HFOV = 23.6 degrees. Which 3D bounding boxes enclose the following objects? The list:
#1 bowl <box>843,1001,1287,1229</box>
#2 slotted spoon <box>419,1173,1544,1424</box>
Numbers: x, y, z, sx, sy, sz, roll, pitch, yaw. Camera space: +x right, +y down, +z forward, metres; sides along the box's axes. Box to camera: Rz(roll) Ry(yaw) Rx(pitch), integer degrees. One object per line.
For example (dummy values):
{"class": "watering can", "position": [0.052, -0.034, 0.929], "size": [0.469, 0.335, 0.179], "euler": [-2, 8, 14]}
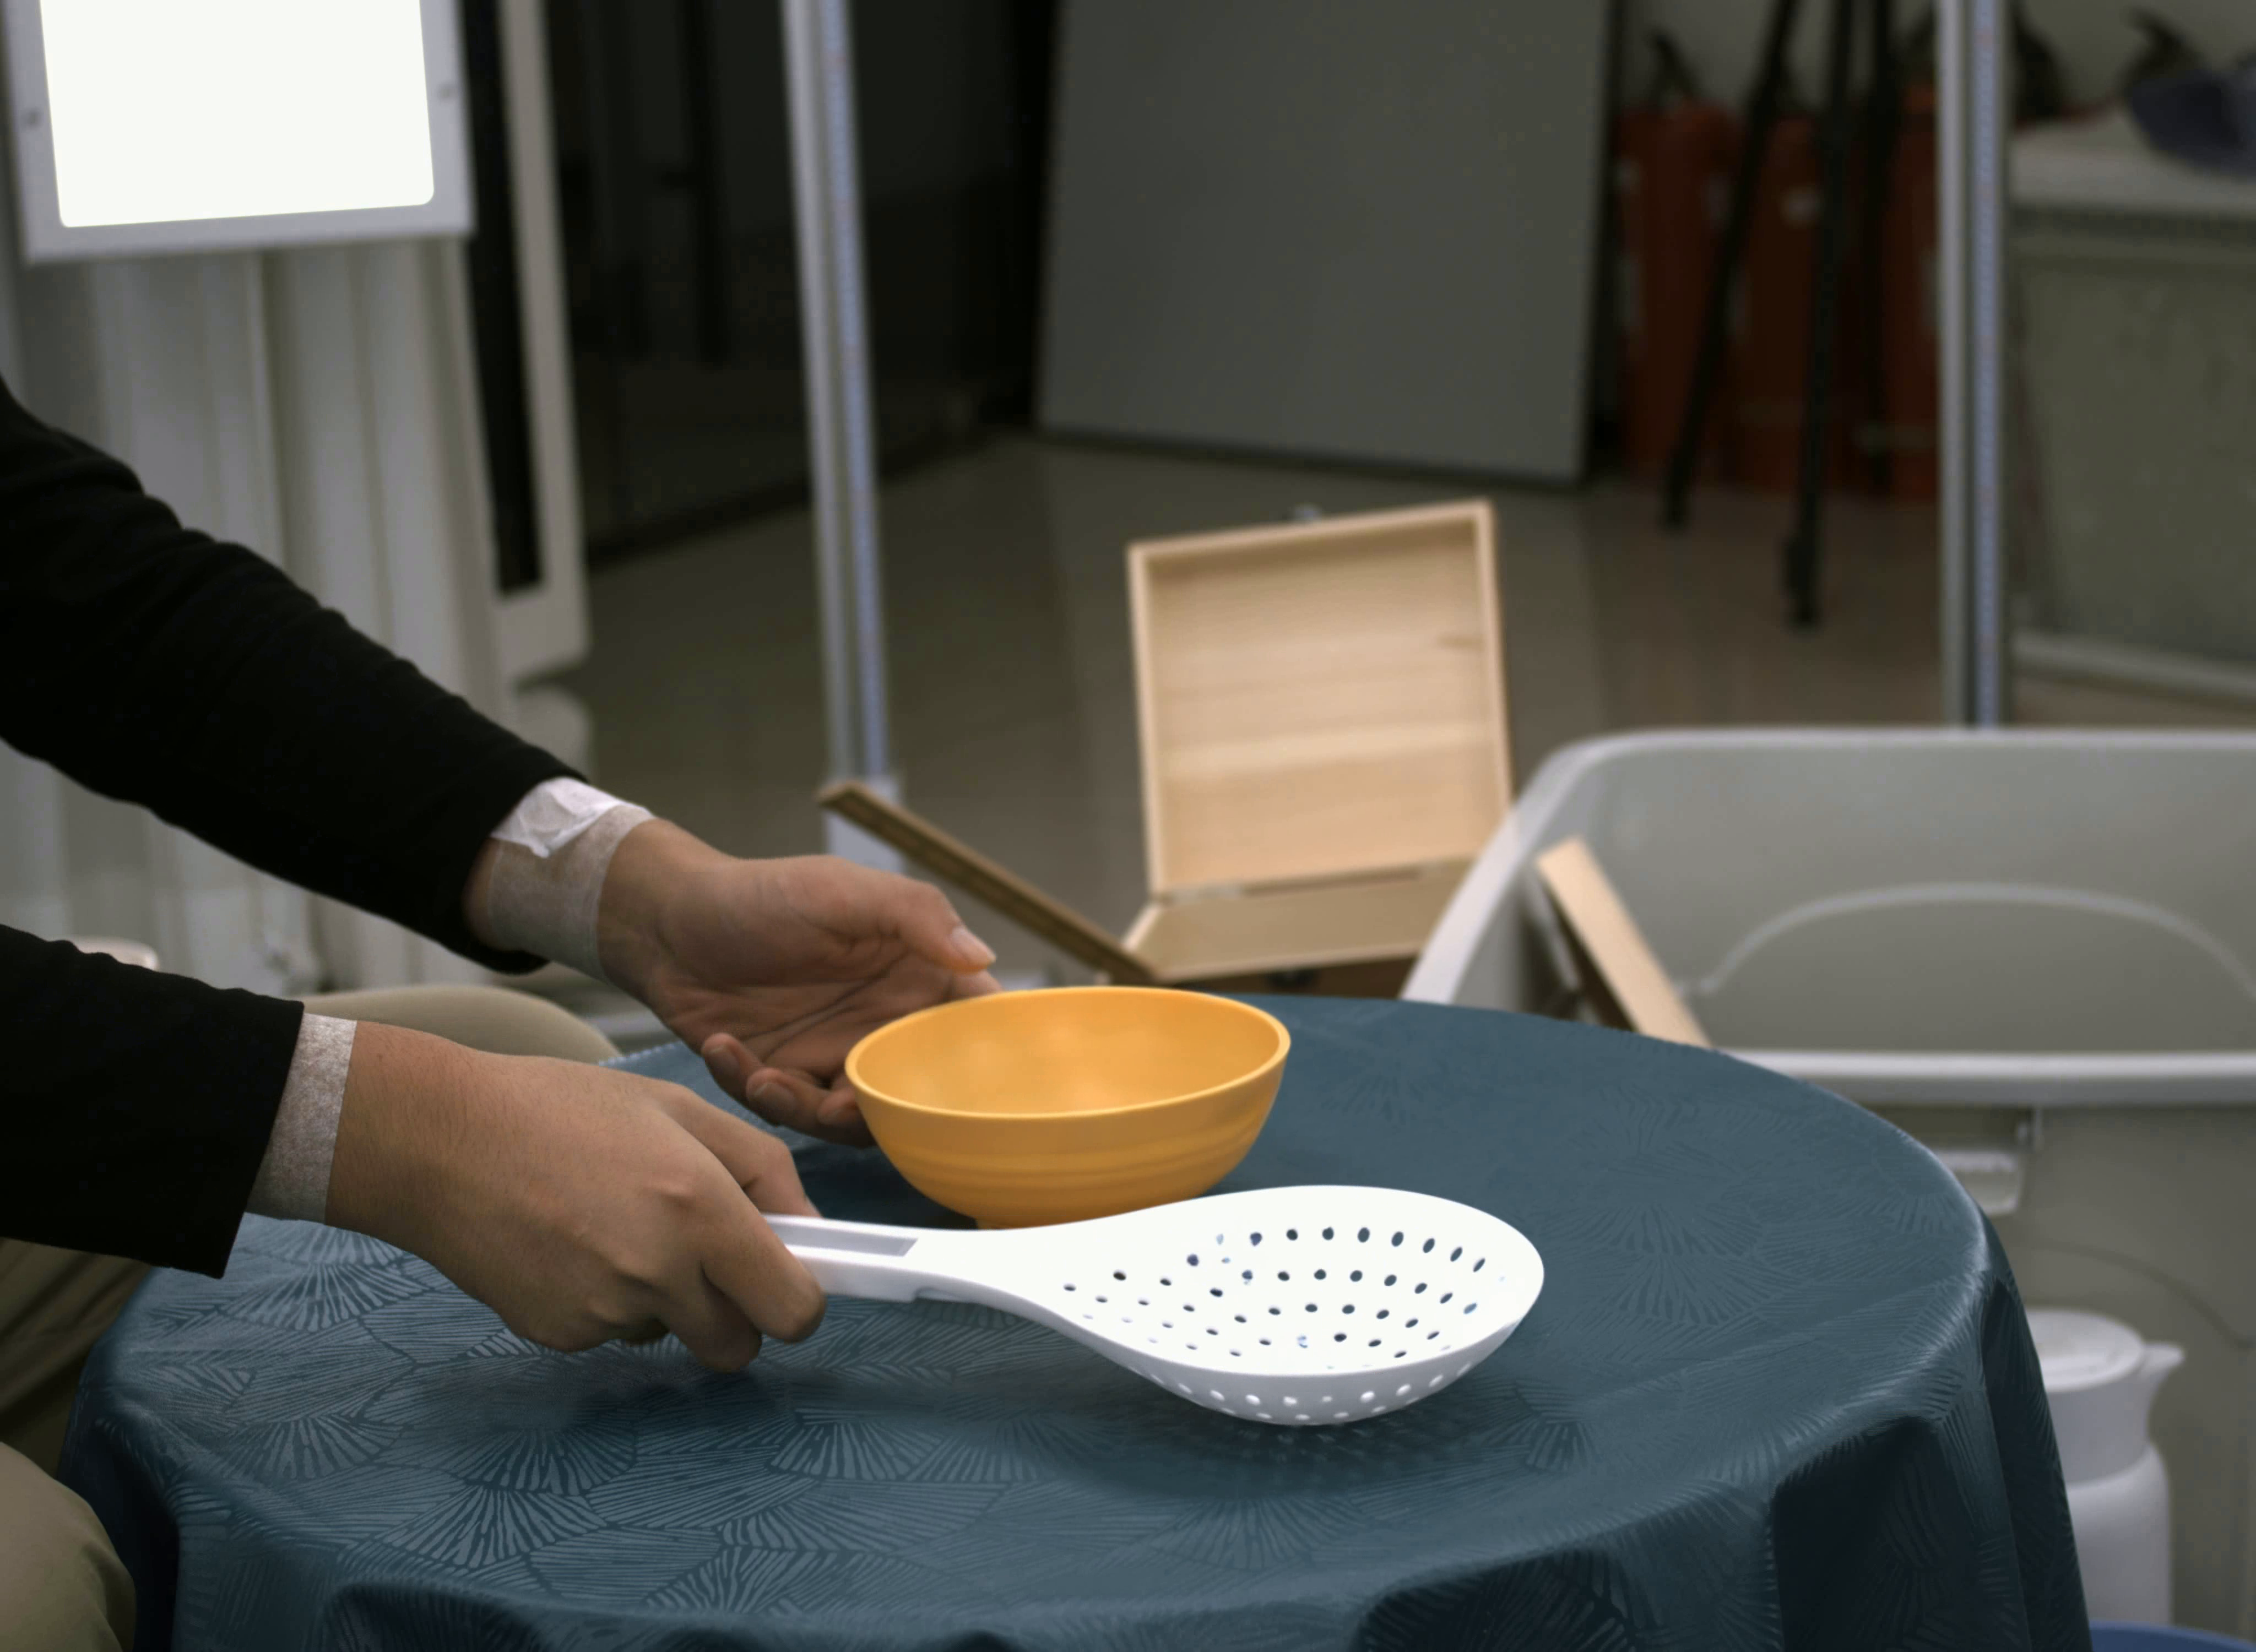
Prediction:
{"class": "bowl", "position": [-0.019, 0.101, 1.738], "size": [0.143, 0.061, 0.145], "euler": [-3, 12, 0]}
{"class": "slotted spoon", "position": [-0.048, 0.128, 1.591], "size": [0.349, 0.046, 0.135], "euler": [8, 22, 18]}
